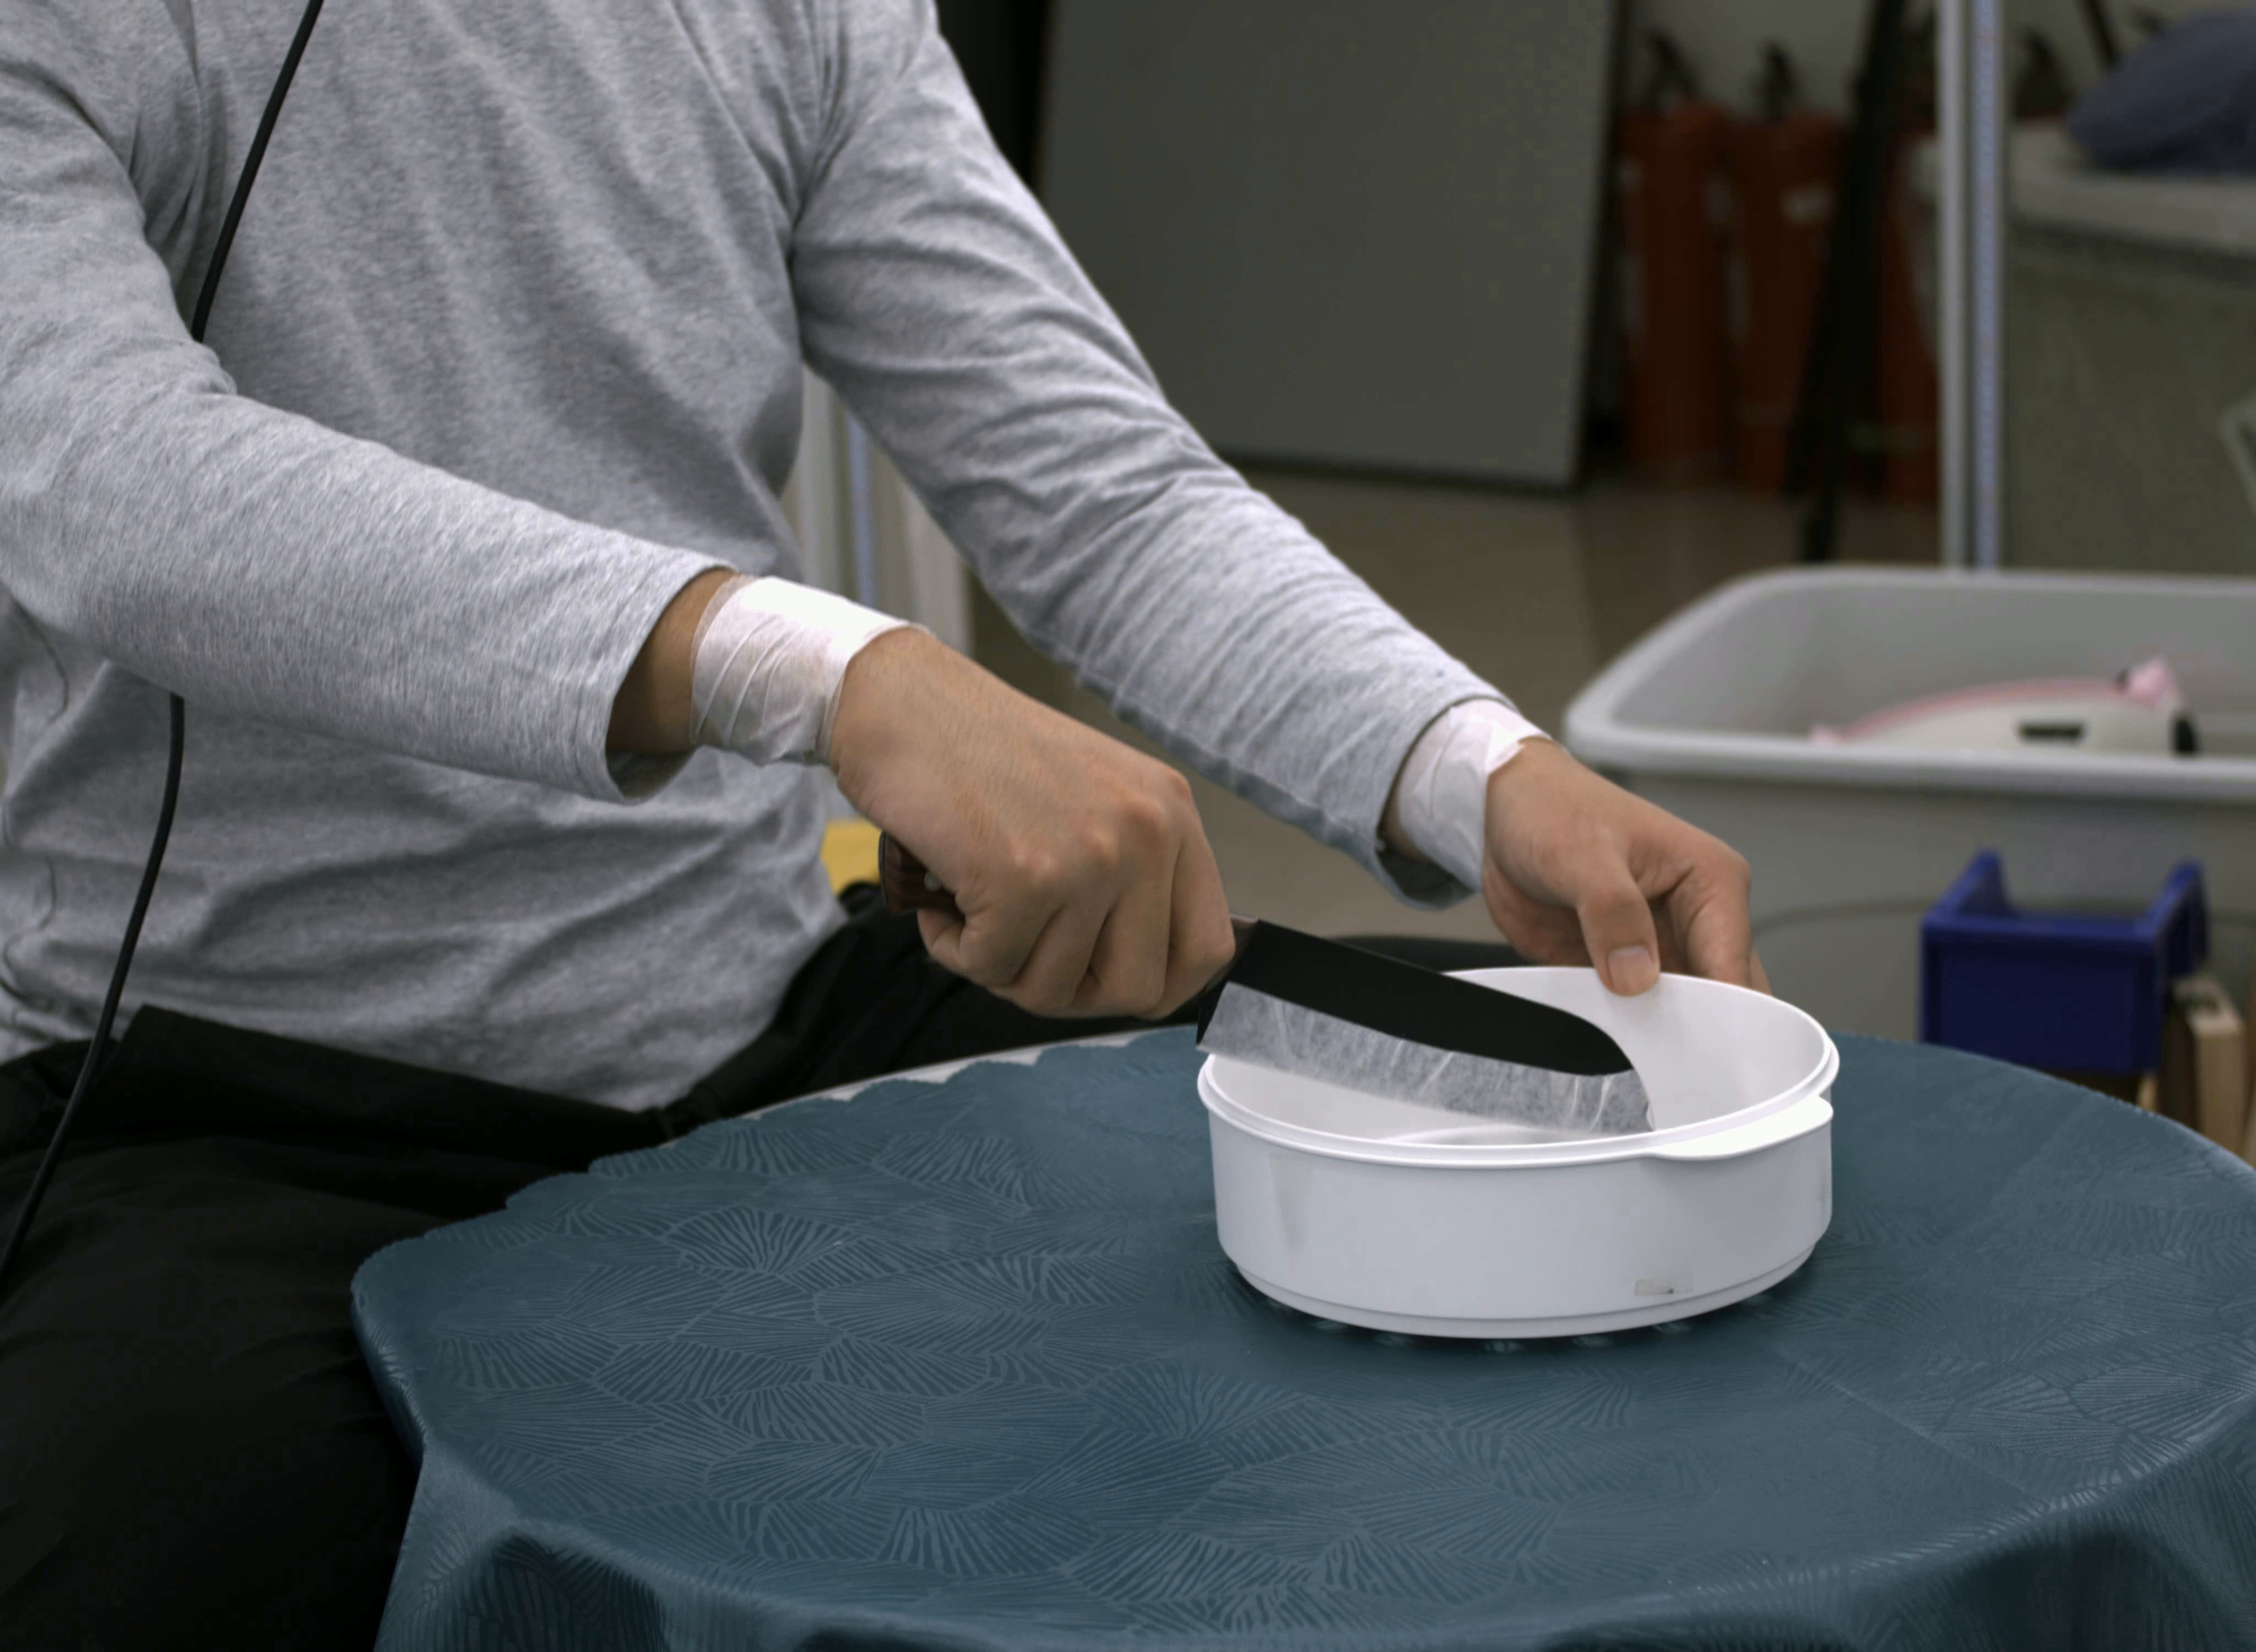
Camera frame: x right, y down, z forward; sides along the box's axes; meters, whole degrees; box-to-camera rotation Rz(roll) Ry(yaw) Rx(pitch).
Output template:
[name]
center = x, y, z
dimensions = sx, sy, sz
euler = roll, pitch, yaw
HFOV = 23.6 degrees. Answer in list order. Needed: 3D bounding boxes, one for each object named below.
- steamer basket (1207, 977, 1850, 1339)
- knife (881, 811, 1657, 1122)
[steamer basket]
center = 0.125, 0.103, 1.671
dimensions = 0.197, 0.070, 0.233
euler = -13, 15, -37
[knife]
center = 0.048, 0.046, 1.635
dimensions = 0.283, 0.051, 0.020
euler = 20, 8, -26
